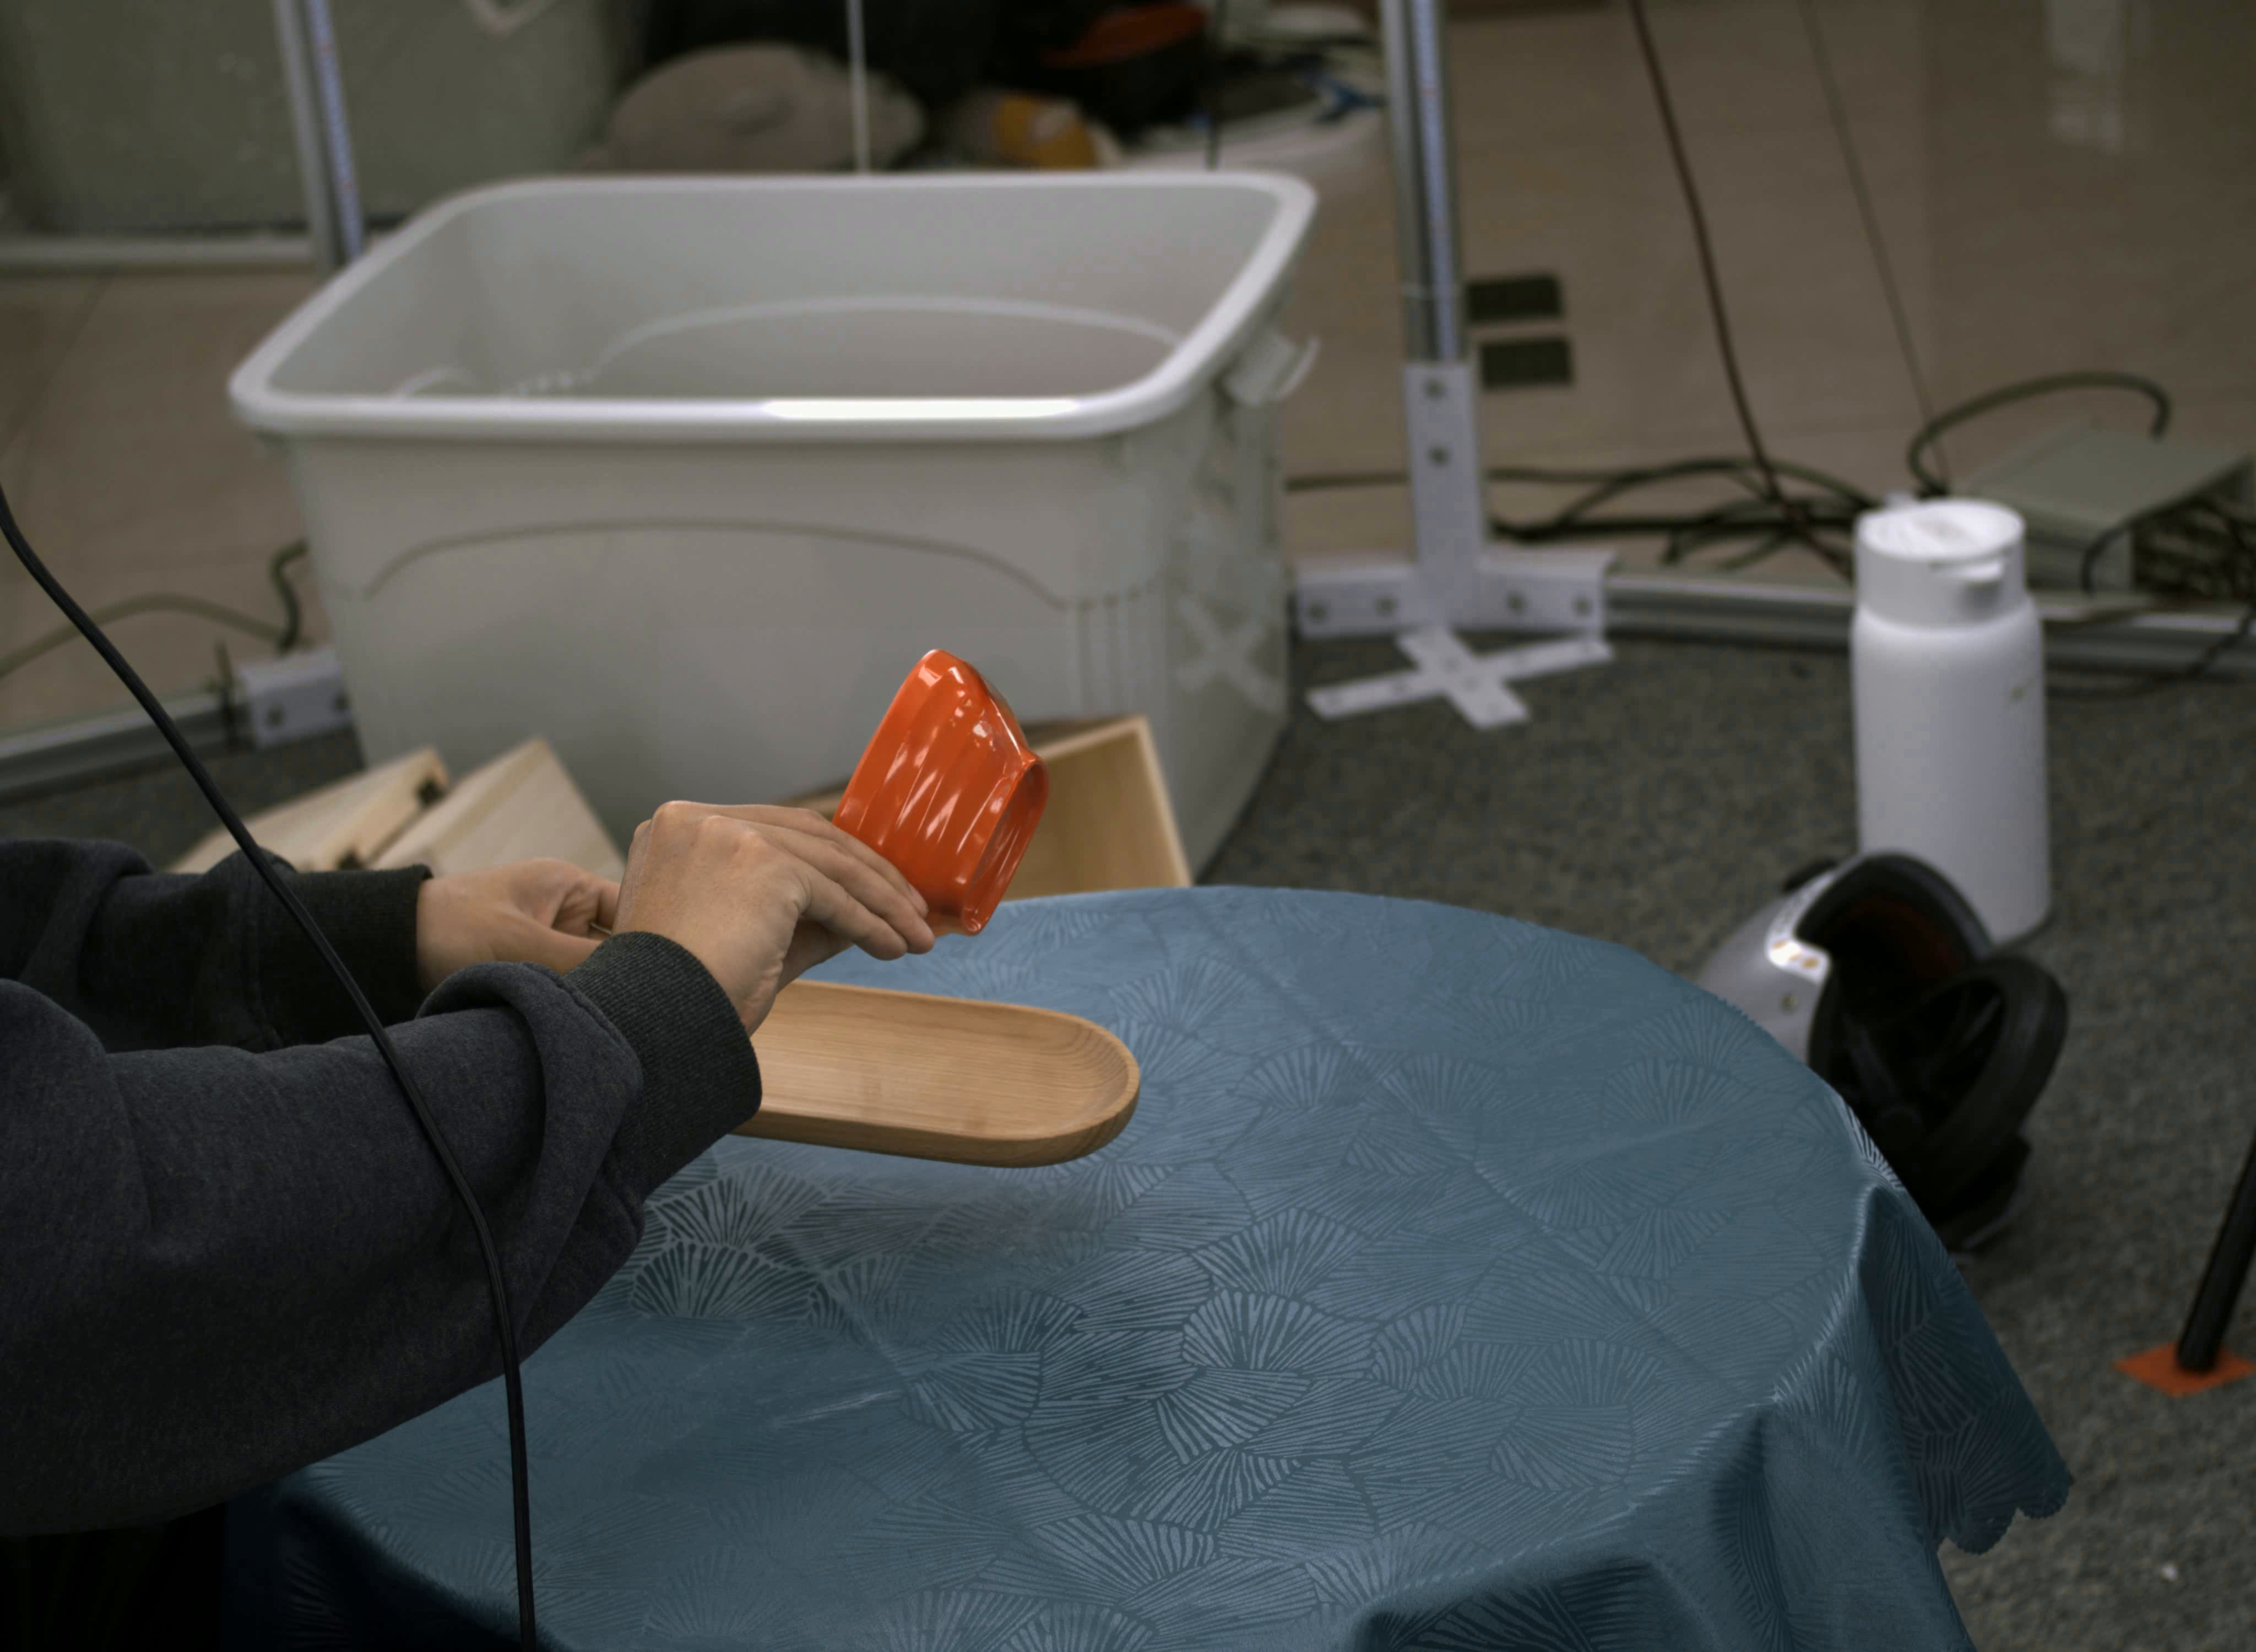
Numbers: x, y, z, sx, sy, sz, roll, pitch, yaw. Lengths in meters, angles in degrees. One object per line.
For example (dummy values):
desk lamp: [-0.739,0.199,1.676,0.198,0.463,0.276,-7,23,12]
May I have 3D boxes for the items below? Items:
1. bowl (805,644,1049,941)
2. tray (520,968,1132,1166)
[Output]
bowl: [-0.066,-0.004,2.012,0.051,0.121,0.117,27,33,9]
tray: [-0.113,0.090,2.116,0.230,0.020,0.100,5,27,8]
